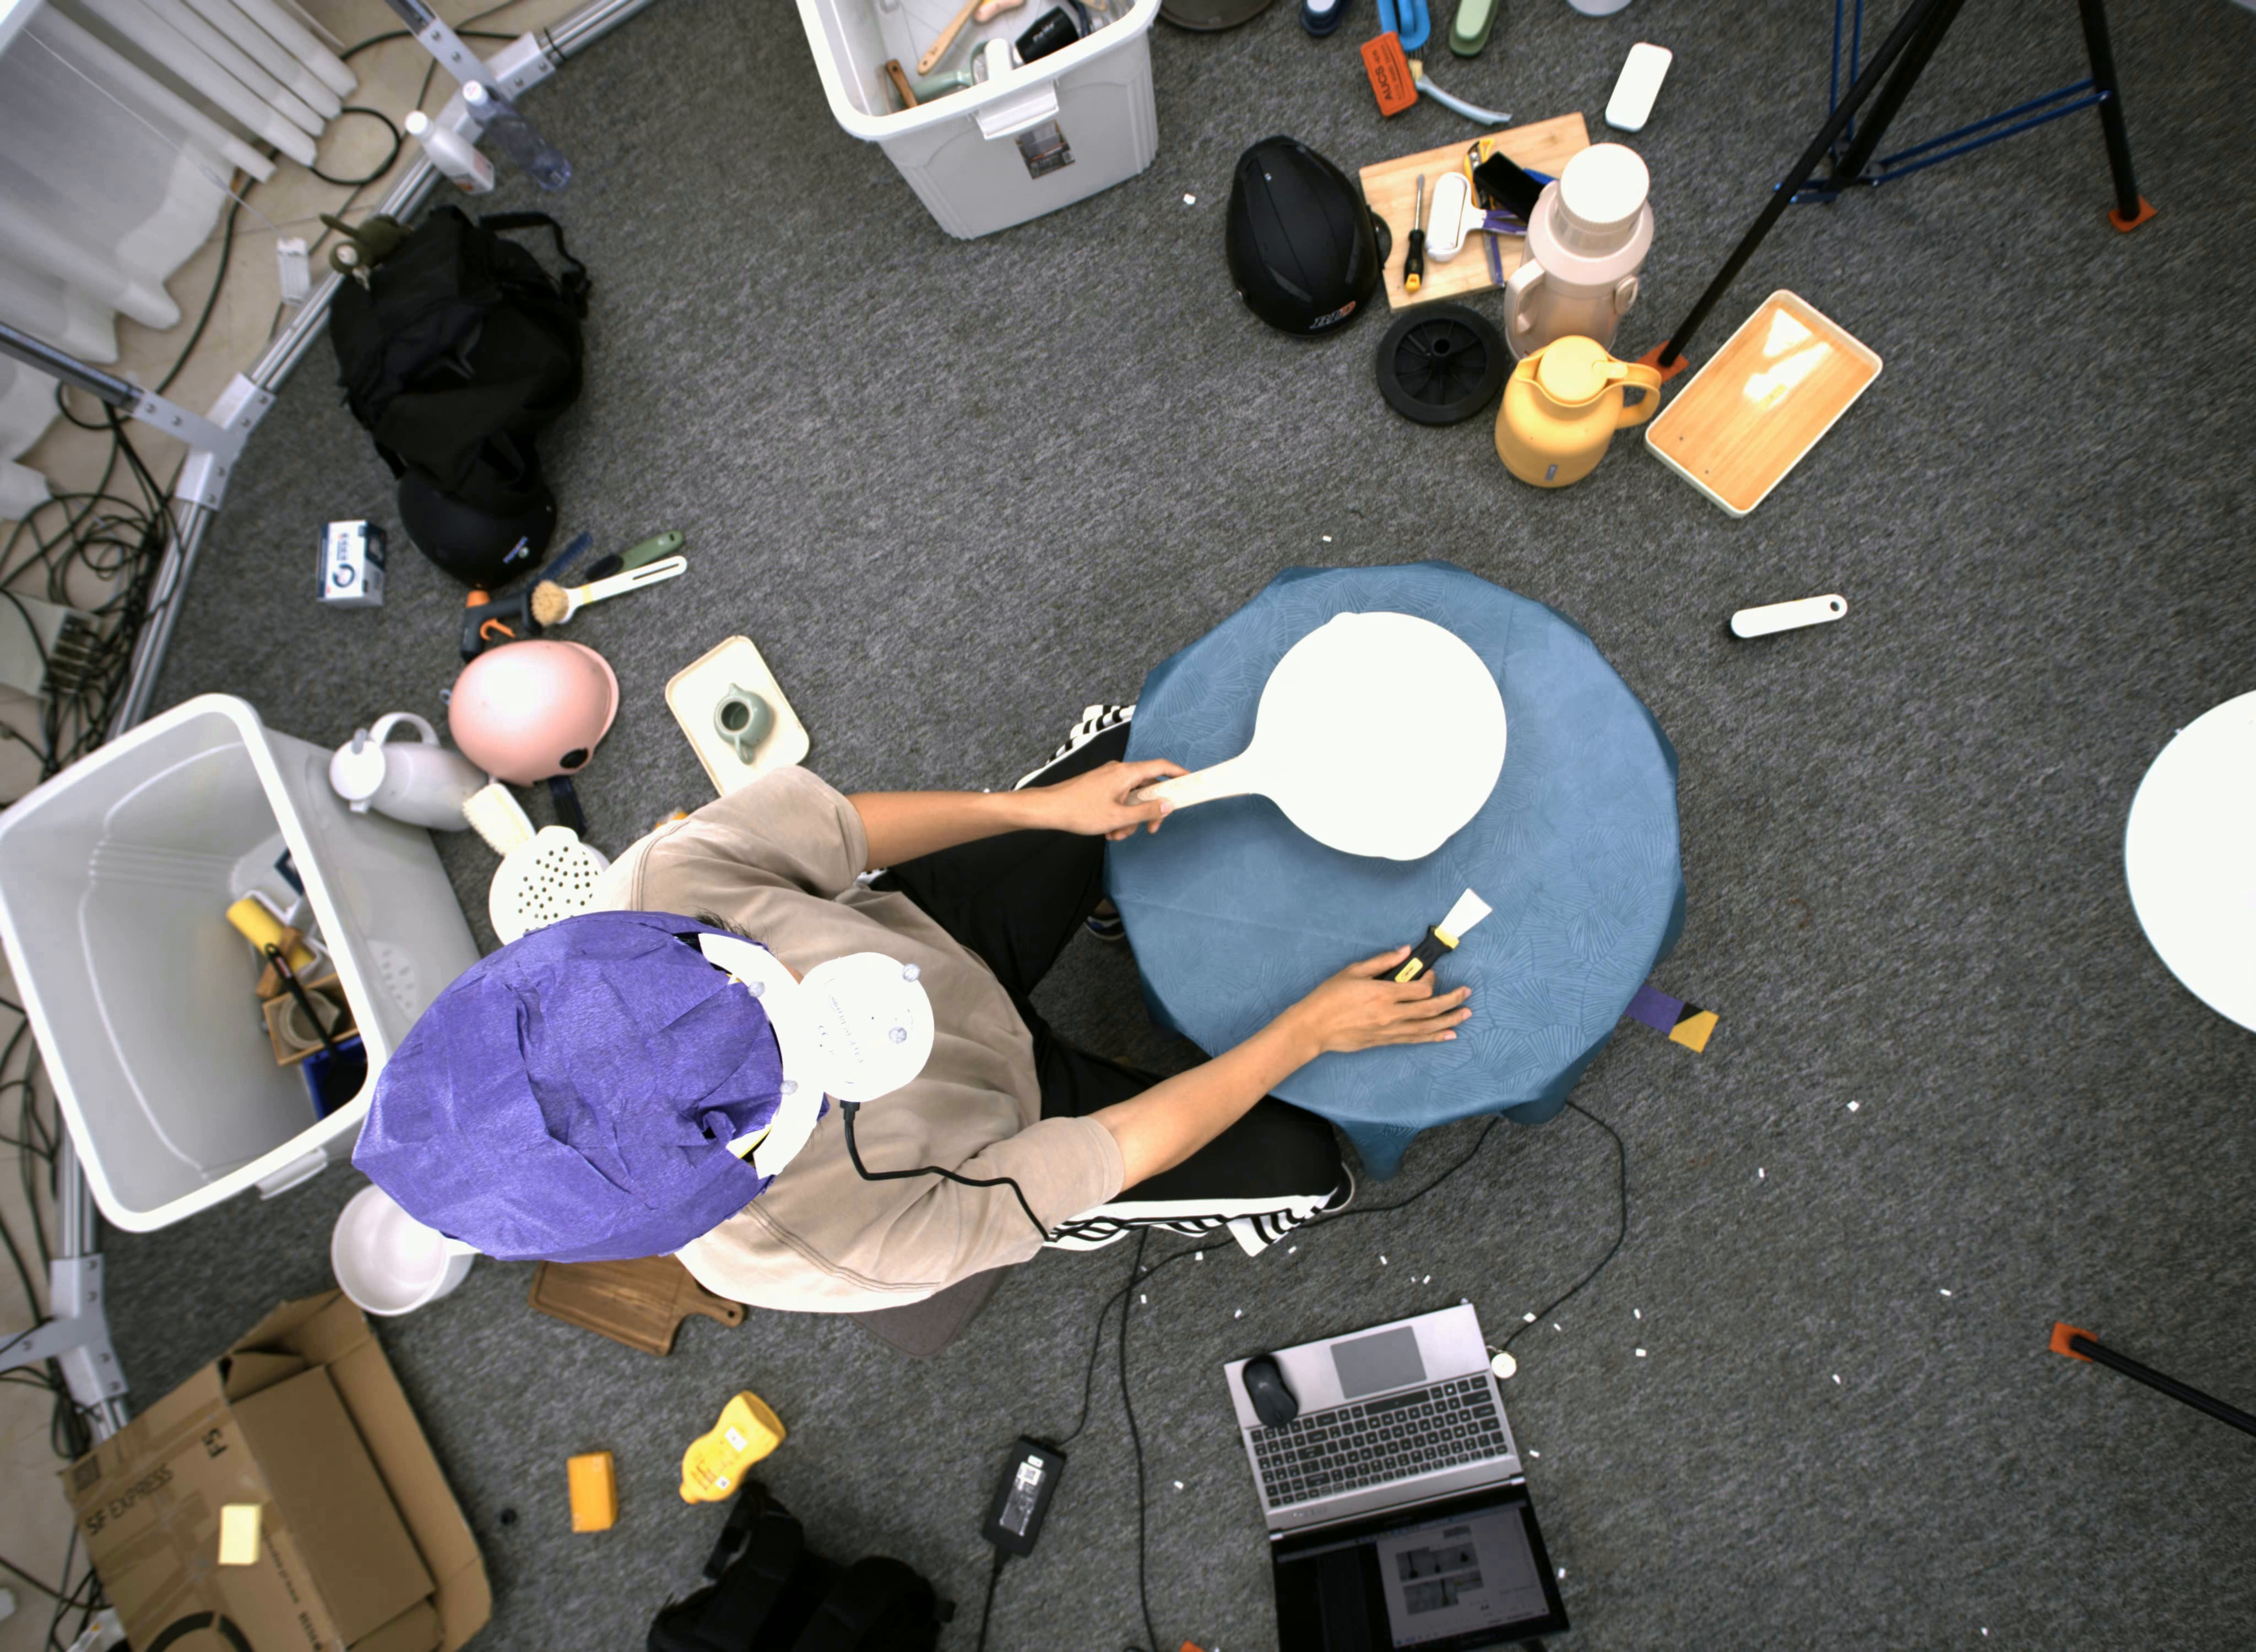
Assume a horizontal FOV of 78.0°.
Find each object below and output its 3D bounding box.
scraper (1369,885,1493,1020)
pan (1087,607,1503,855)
[{"bbox_3d":[0.313,0.133,1.437,0.039,0.015,0.170,43,87,6],"label":"scraper"},{"bbox_3d":[0.171,-0.069,1.441,0.437,0.102,0.262,-18,86,9],"label":"pan"}]
